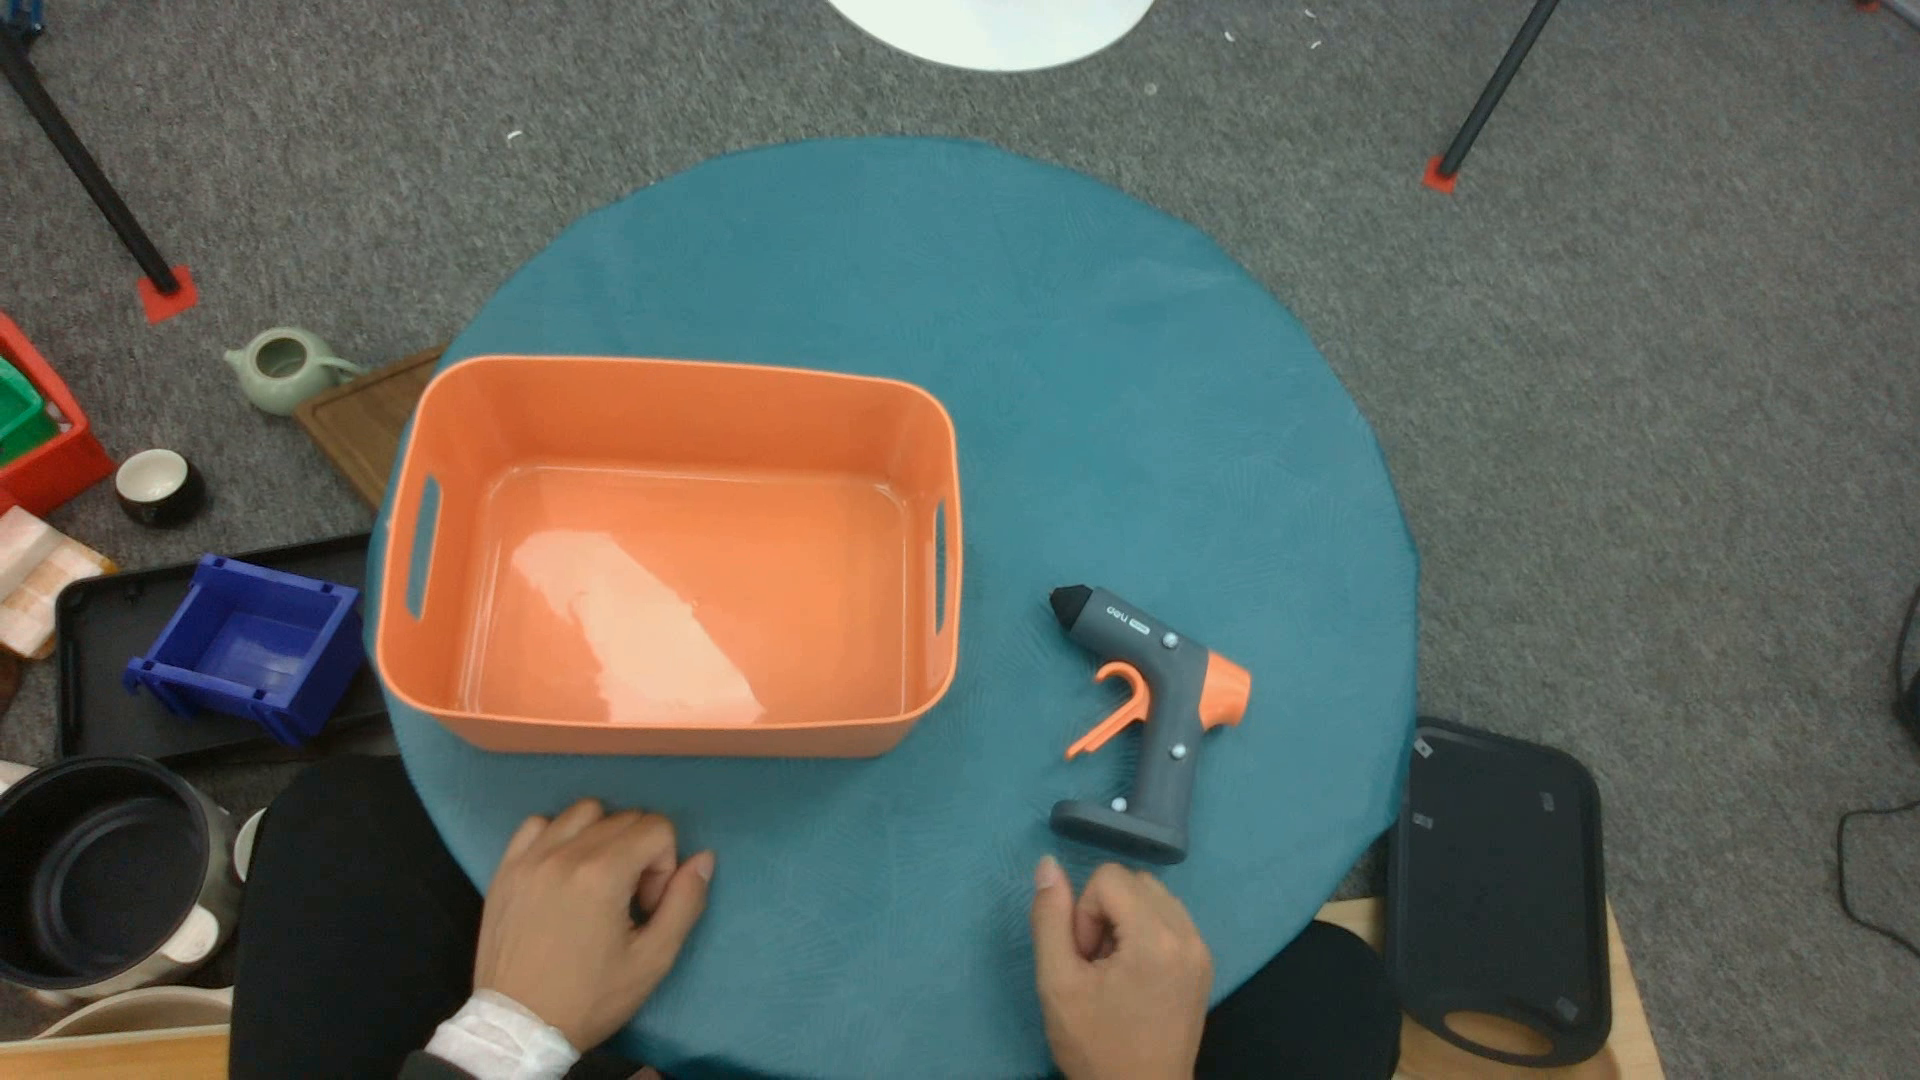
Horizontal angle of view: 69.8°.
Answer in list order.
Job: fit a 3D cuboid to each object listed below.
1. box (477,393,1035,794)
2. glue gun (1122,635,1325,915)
[{"bbox_3d":[-0.100,0.036,0.739,0.273,0.102,0.200,4,64,-4],"label":"box"},{"bbox_3d":[0.134,0.124,0.756,0.118,0.041,0.140,15,61,5],"label":"glue gun"}]
